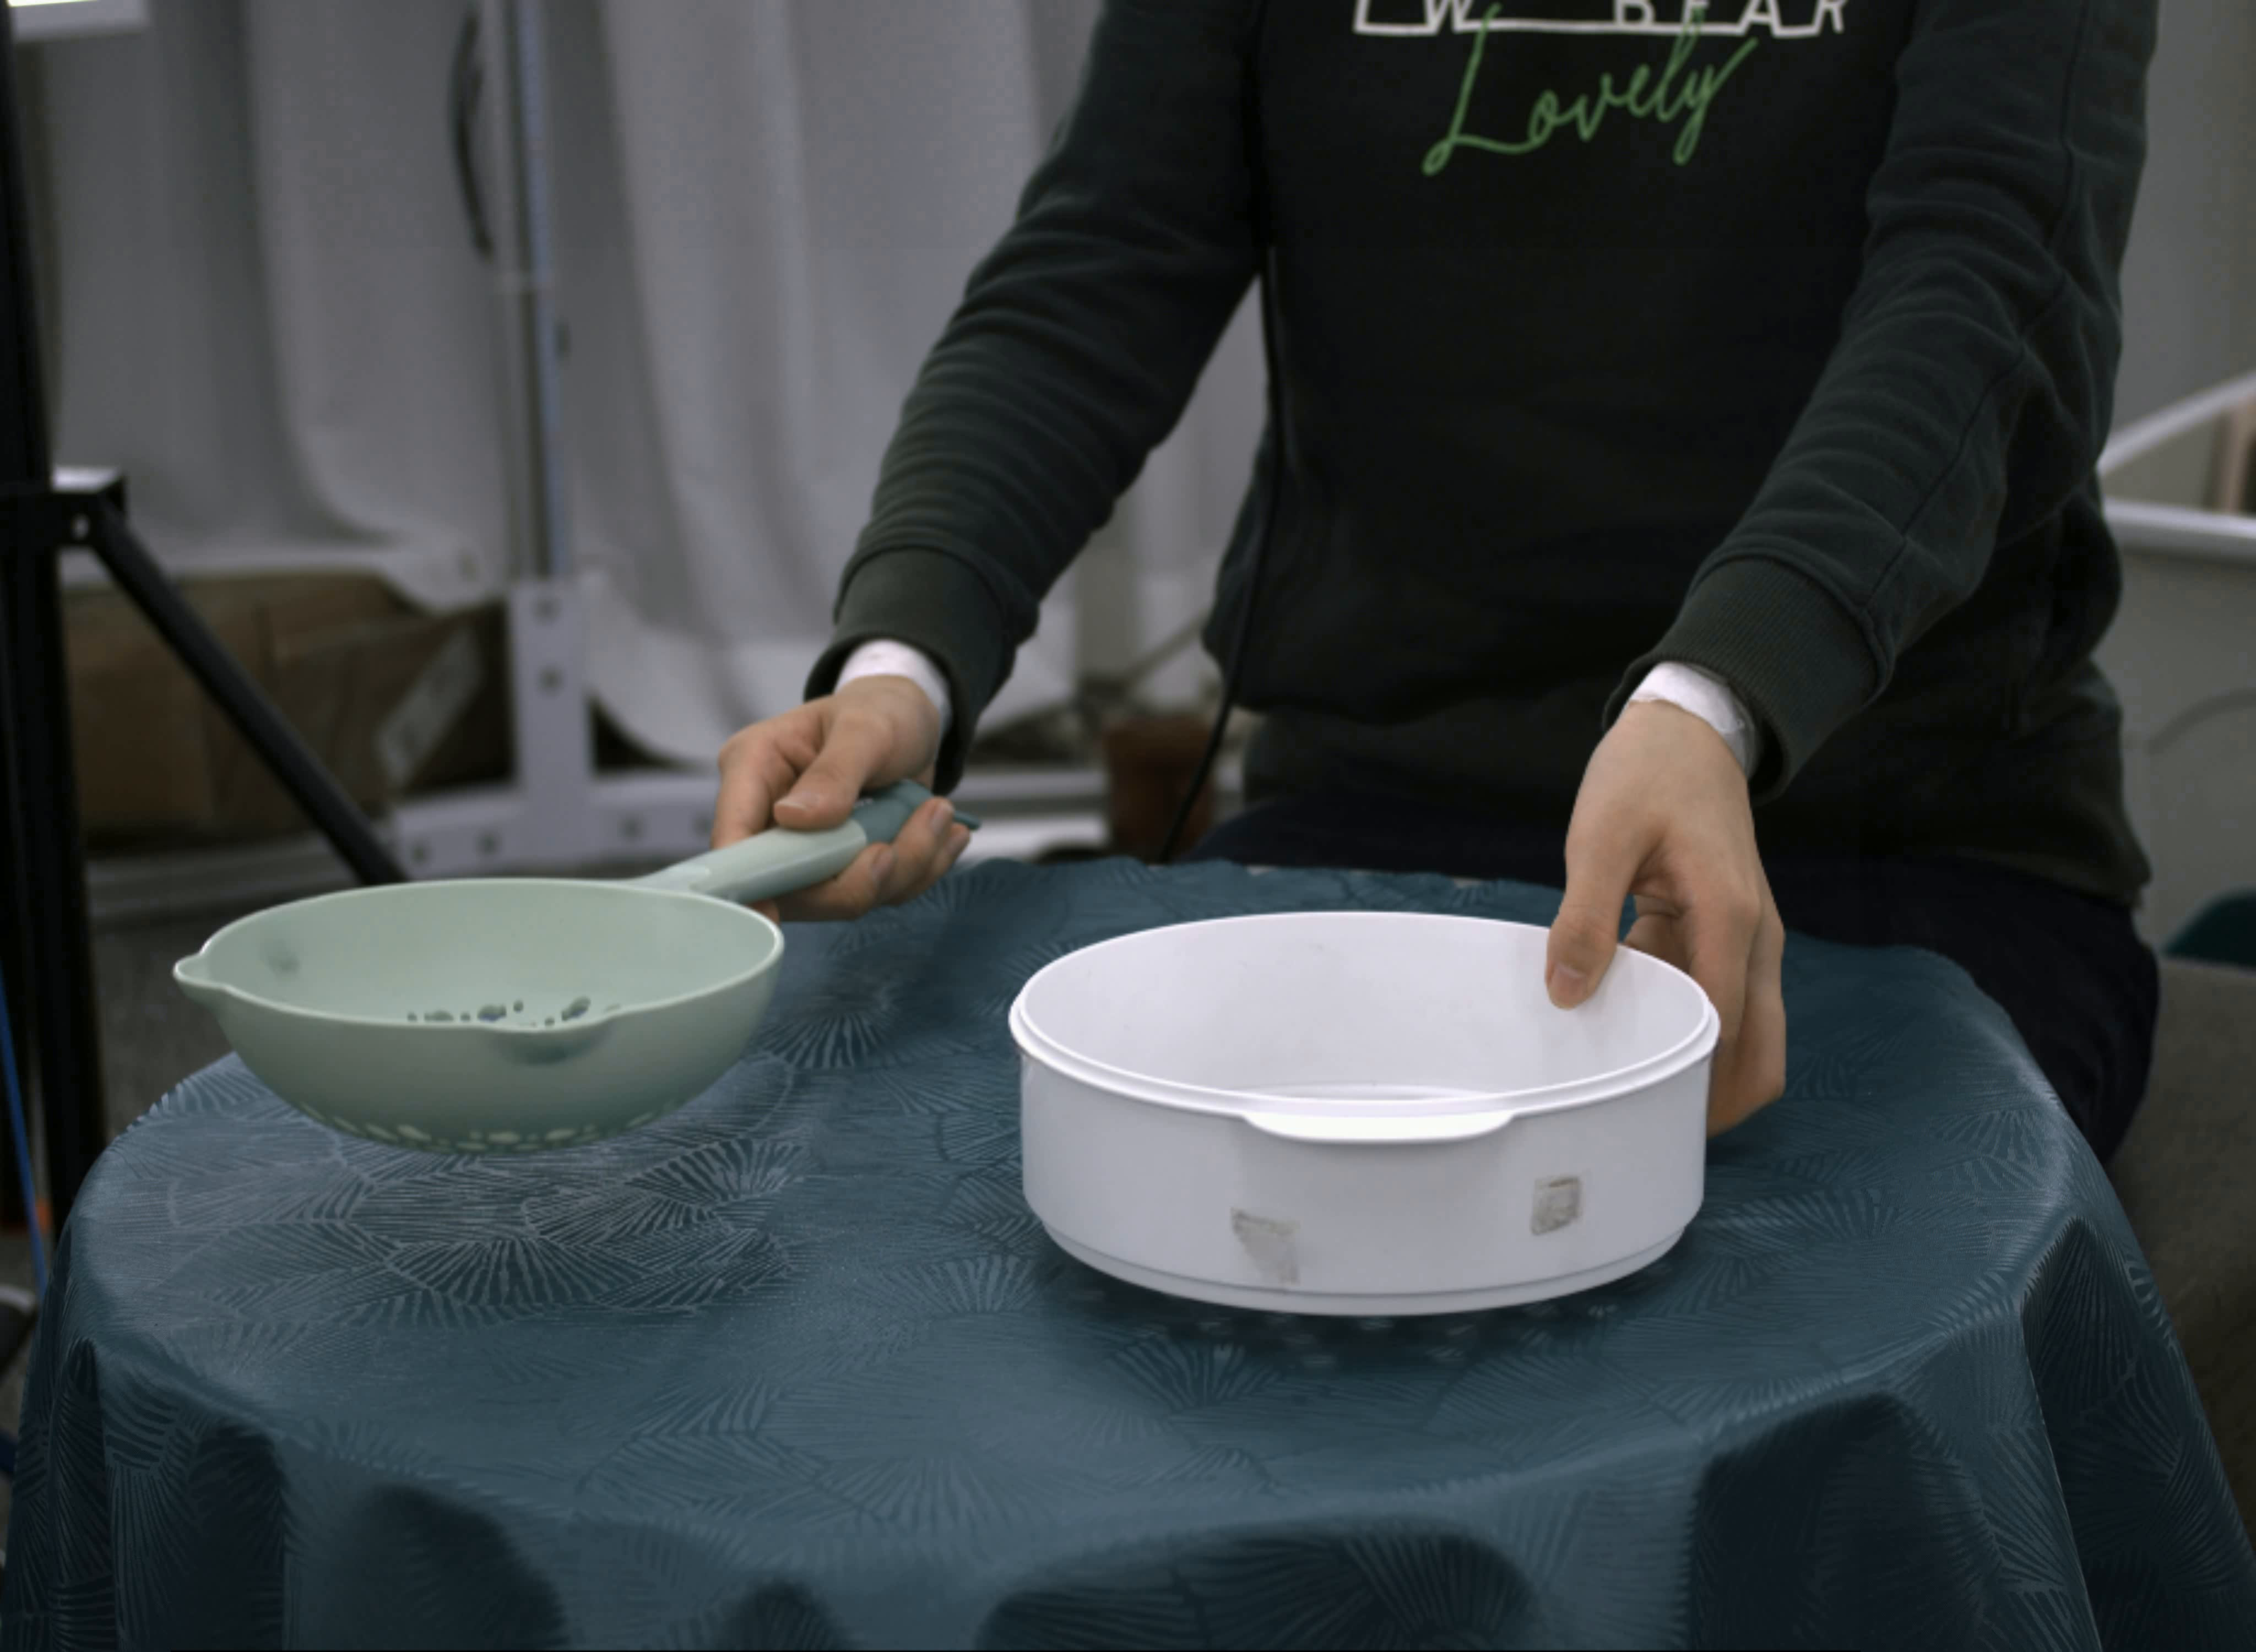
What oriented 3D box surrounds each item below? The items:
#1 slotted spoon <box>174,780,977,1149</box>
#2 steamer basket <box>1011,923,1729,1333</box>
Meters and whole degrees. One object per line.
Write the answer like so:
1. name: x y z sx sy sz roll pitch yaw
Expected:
1. slotted spoon: -0.139 0.027 1.631 0.172 0.075 0.353 7 22 27
2. steamer basket: 0.067 0.084 1.494 0.201 0.069 0.231 1 14 0
